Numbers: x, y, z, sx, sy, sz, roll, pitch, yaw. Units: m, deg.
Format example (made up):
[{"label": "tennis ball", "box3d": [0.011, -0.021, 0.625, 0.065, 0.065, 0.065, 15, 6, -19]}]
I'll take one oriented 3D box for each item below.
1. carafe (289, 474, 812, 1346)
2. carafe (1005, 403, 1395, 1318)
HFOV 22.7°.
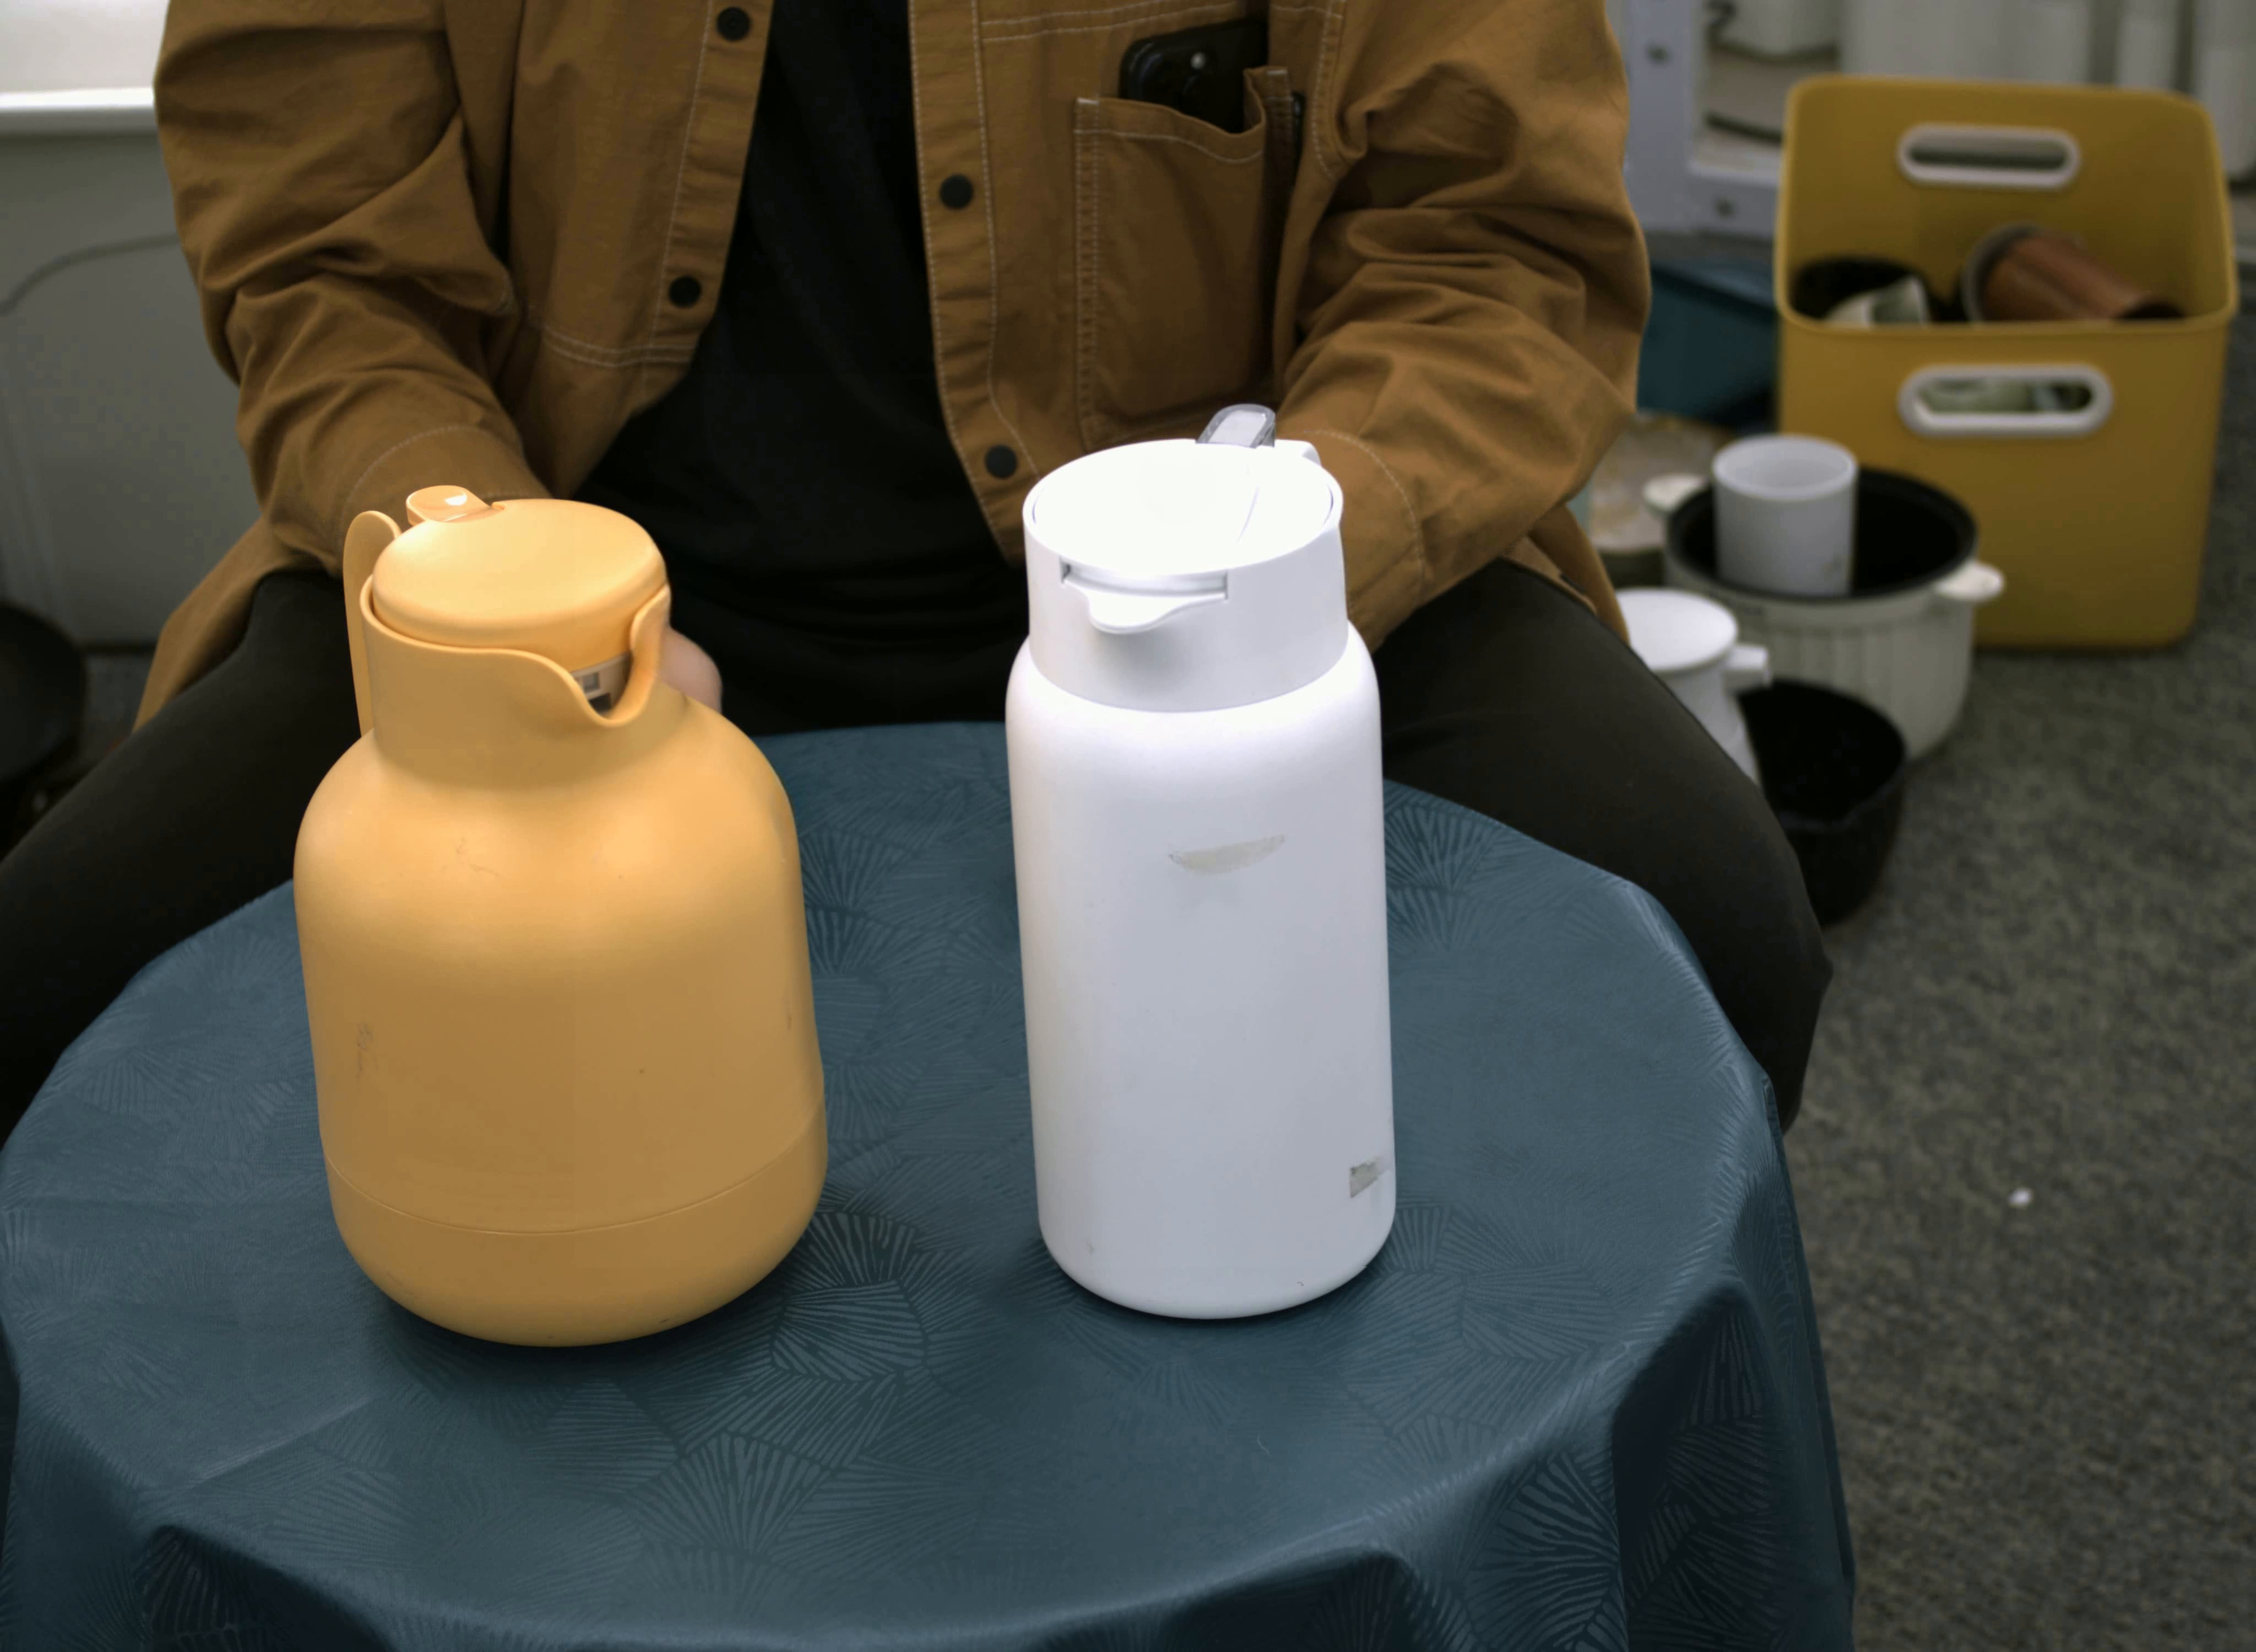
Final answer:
[{"label": "carafe", "box3d": [-0.192, 0.017, 1.798, 0.164, 0.258, 0.203, -13, 29, -25]}, {"label": "carafe", "box3d": [0.027, 0.007, 1.790, 0.123, 0.266, 0.176, 3, 27, 17]}]
